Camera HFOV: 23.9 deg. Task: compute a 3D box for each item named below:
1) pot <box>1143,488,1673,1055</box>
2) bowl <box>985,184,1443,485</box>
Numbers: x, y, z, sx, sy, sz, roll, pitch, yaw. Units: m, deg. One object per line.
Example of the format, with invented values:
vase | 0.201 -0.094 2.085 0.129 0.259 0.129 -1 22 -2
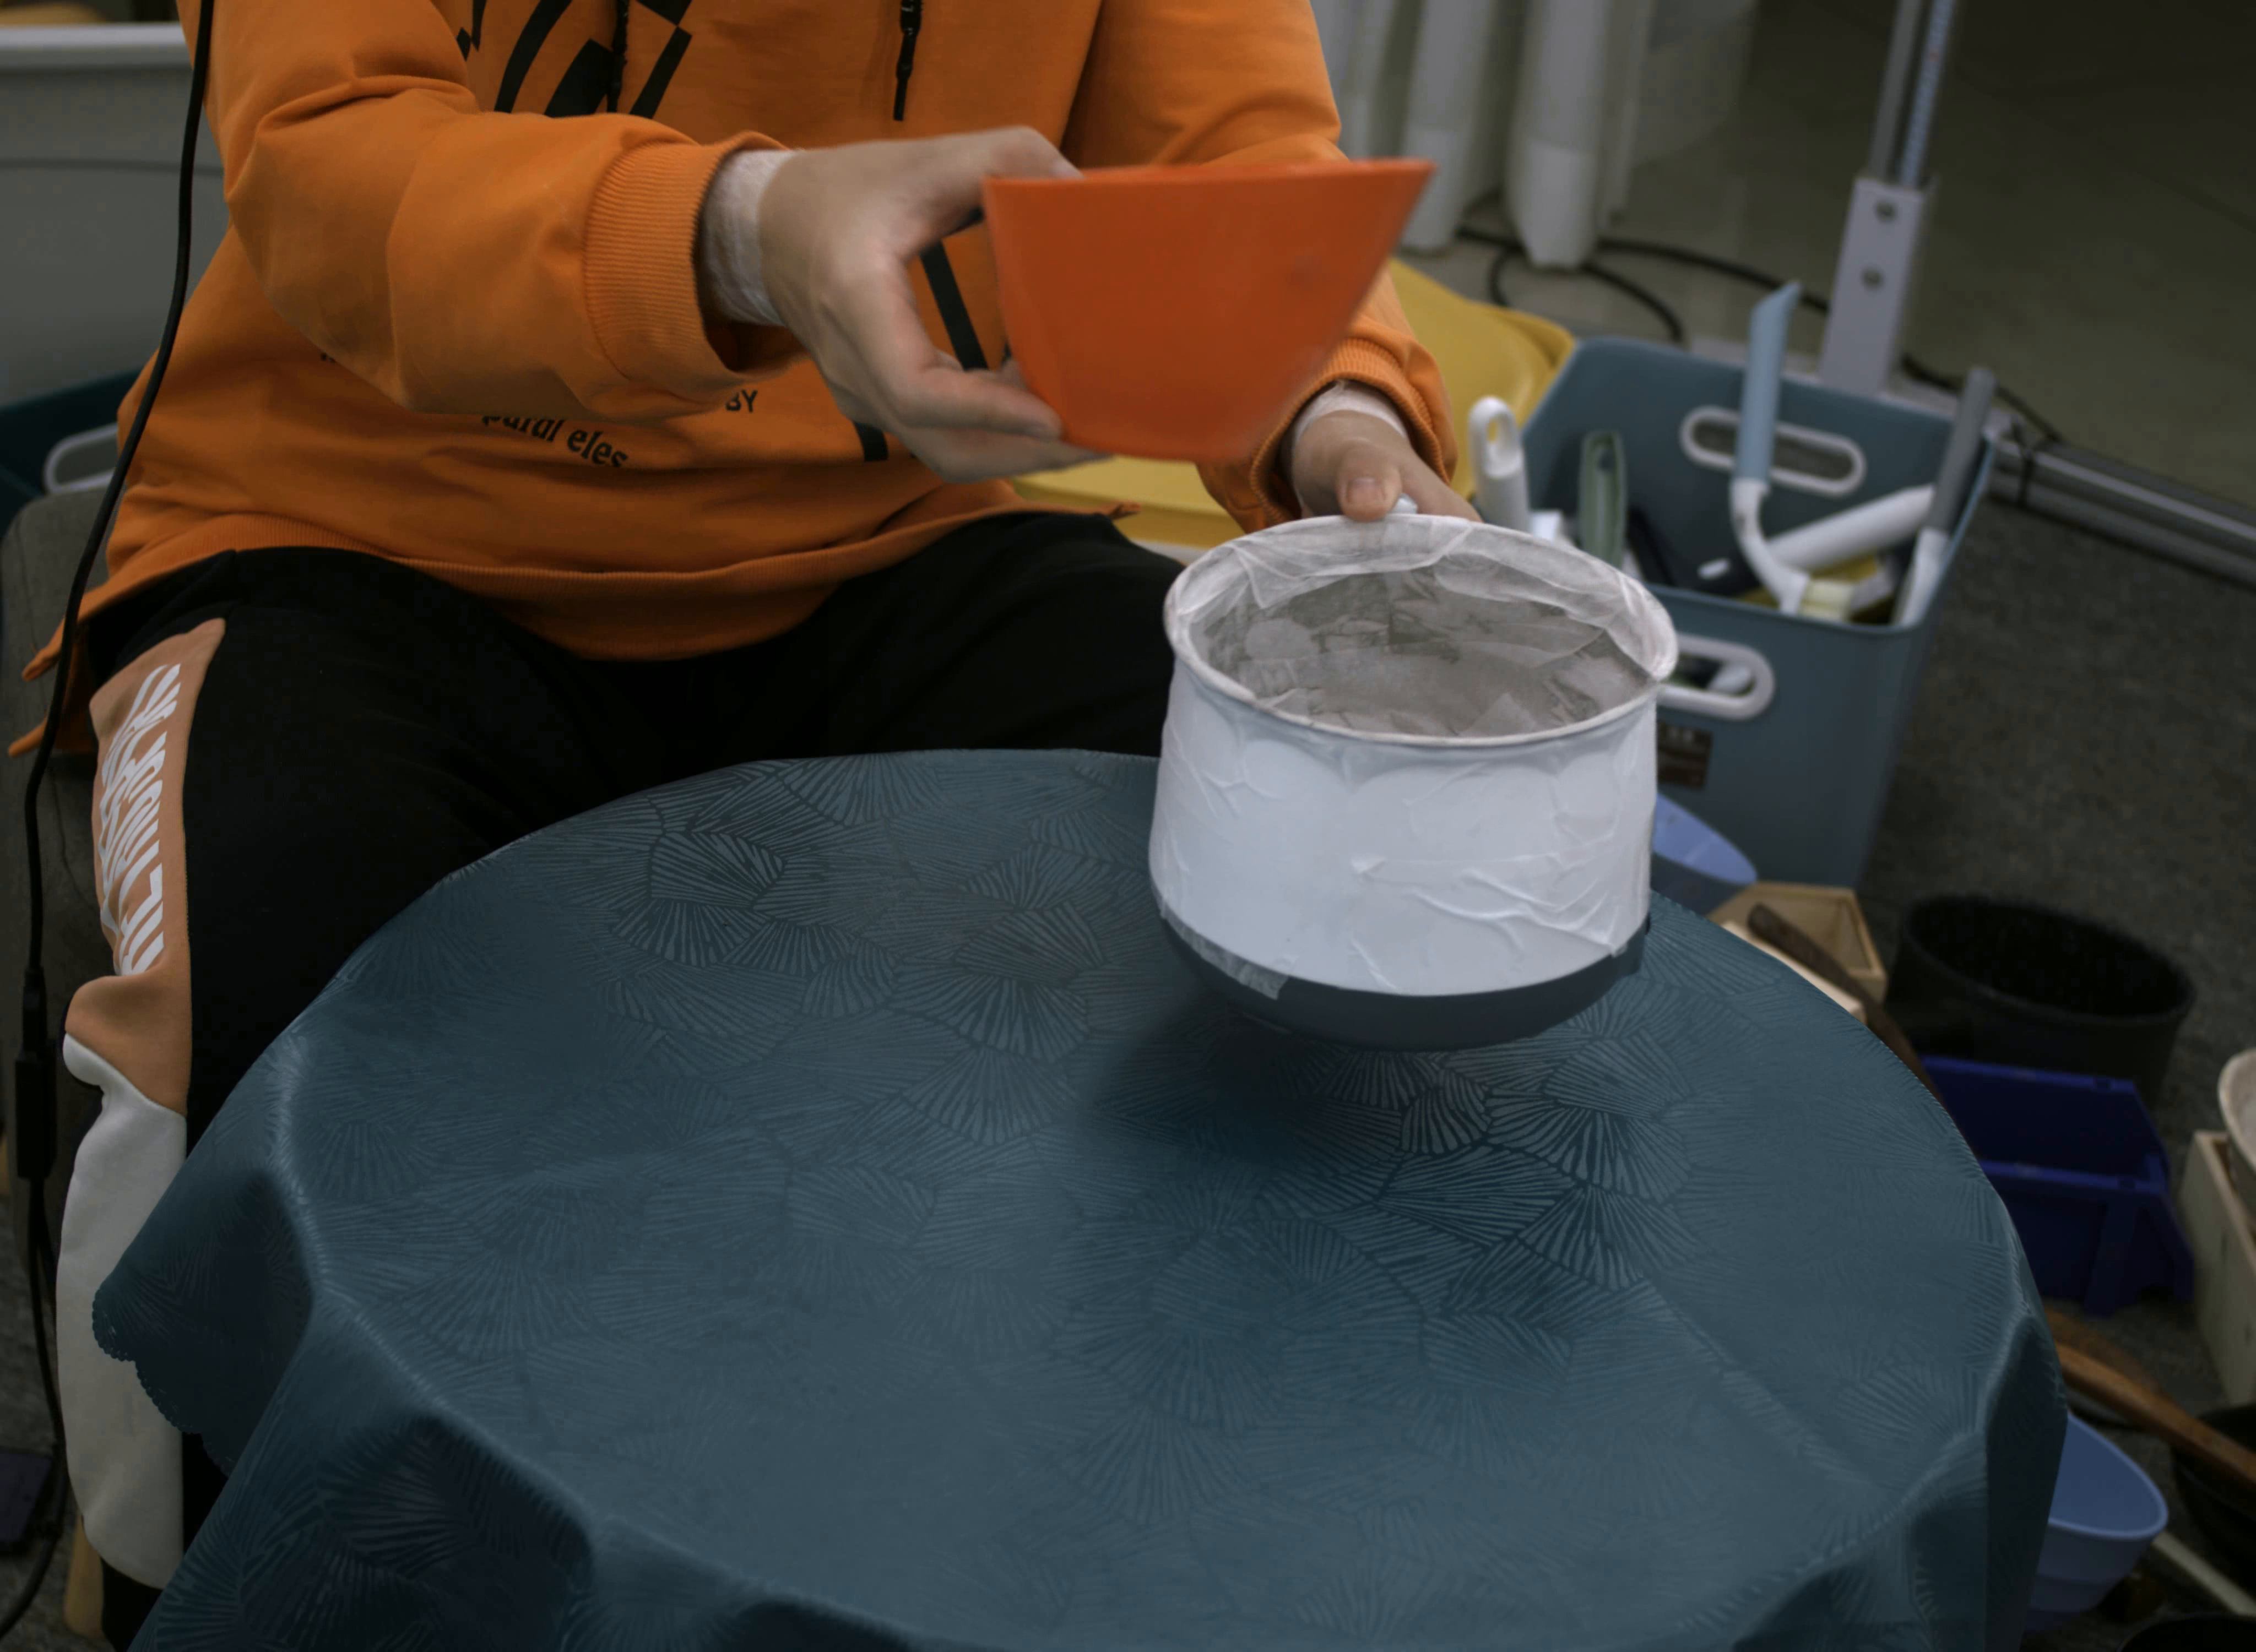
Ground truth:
pot | 0.092 -0.026 1.872 0.178 0.136 0.235 0 28 -6
bowl | 0.023 -0.165 1.730 0.147 0.104 0.148 6 10 -1
